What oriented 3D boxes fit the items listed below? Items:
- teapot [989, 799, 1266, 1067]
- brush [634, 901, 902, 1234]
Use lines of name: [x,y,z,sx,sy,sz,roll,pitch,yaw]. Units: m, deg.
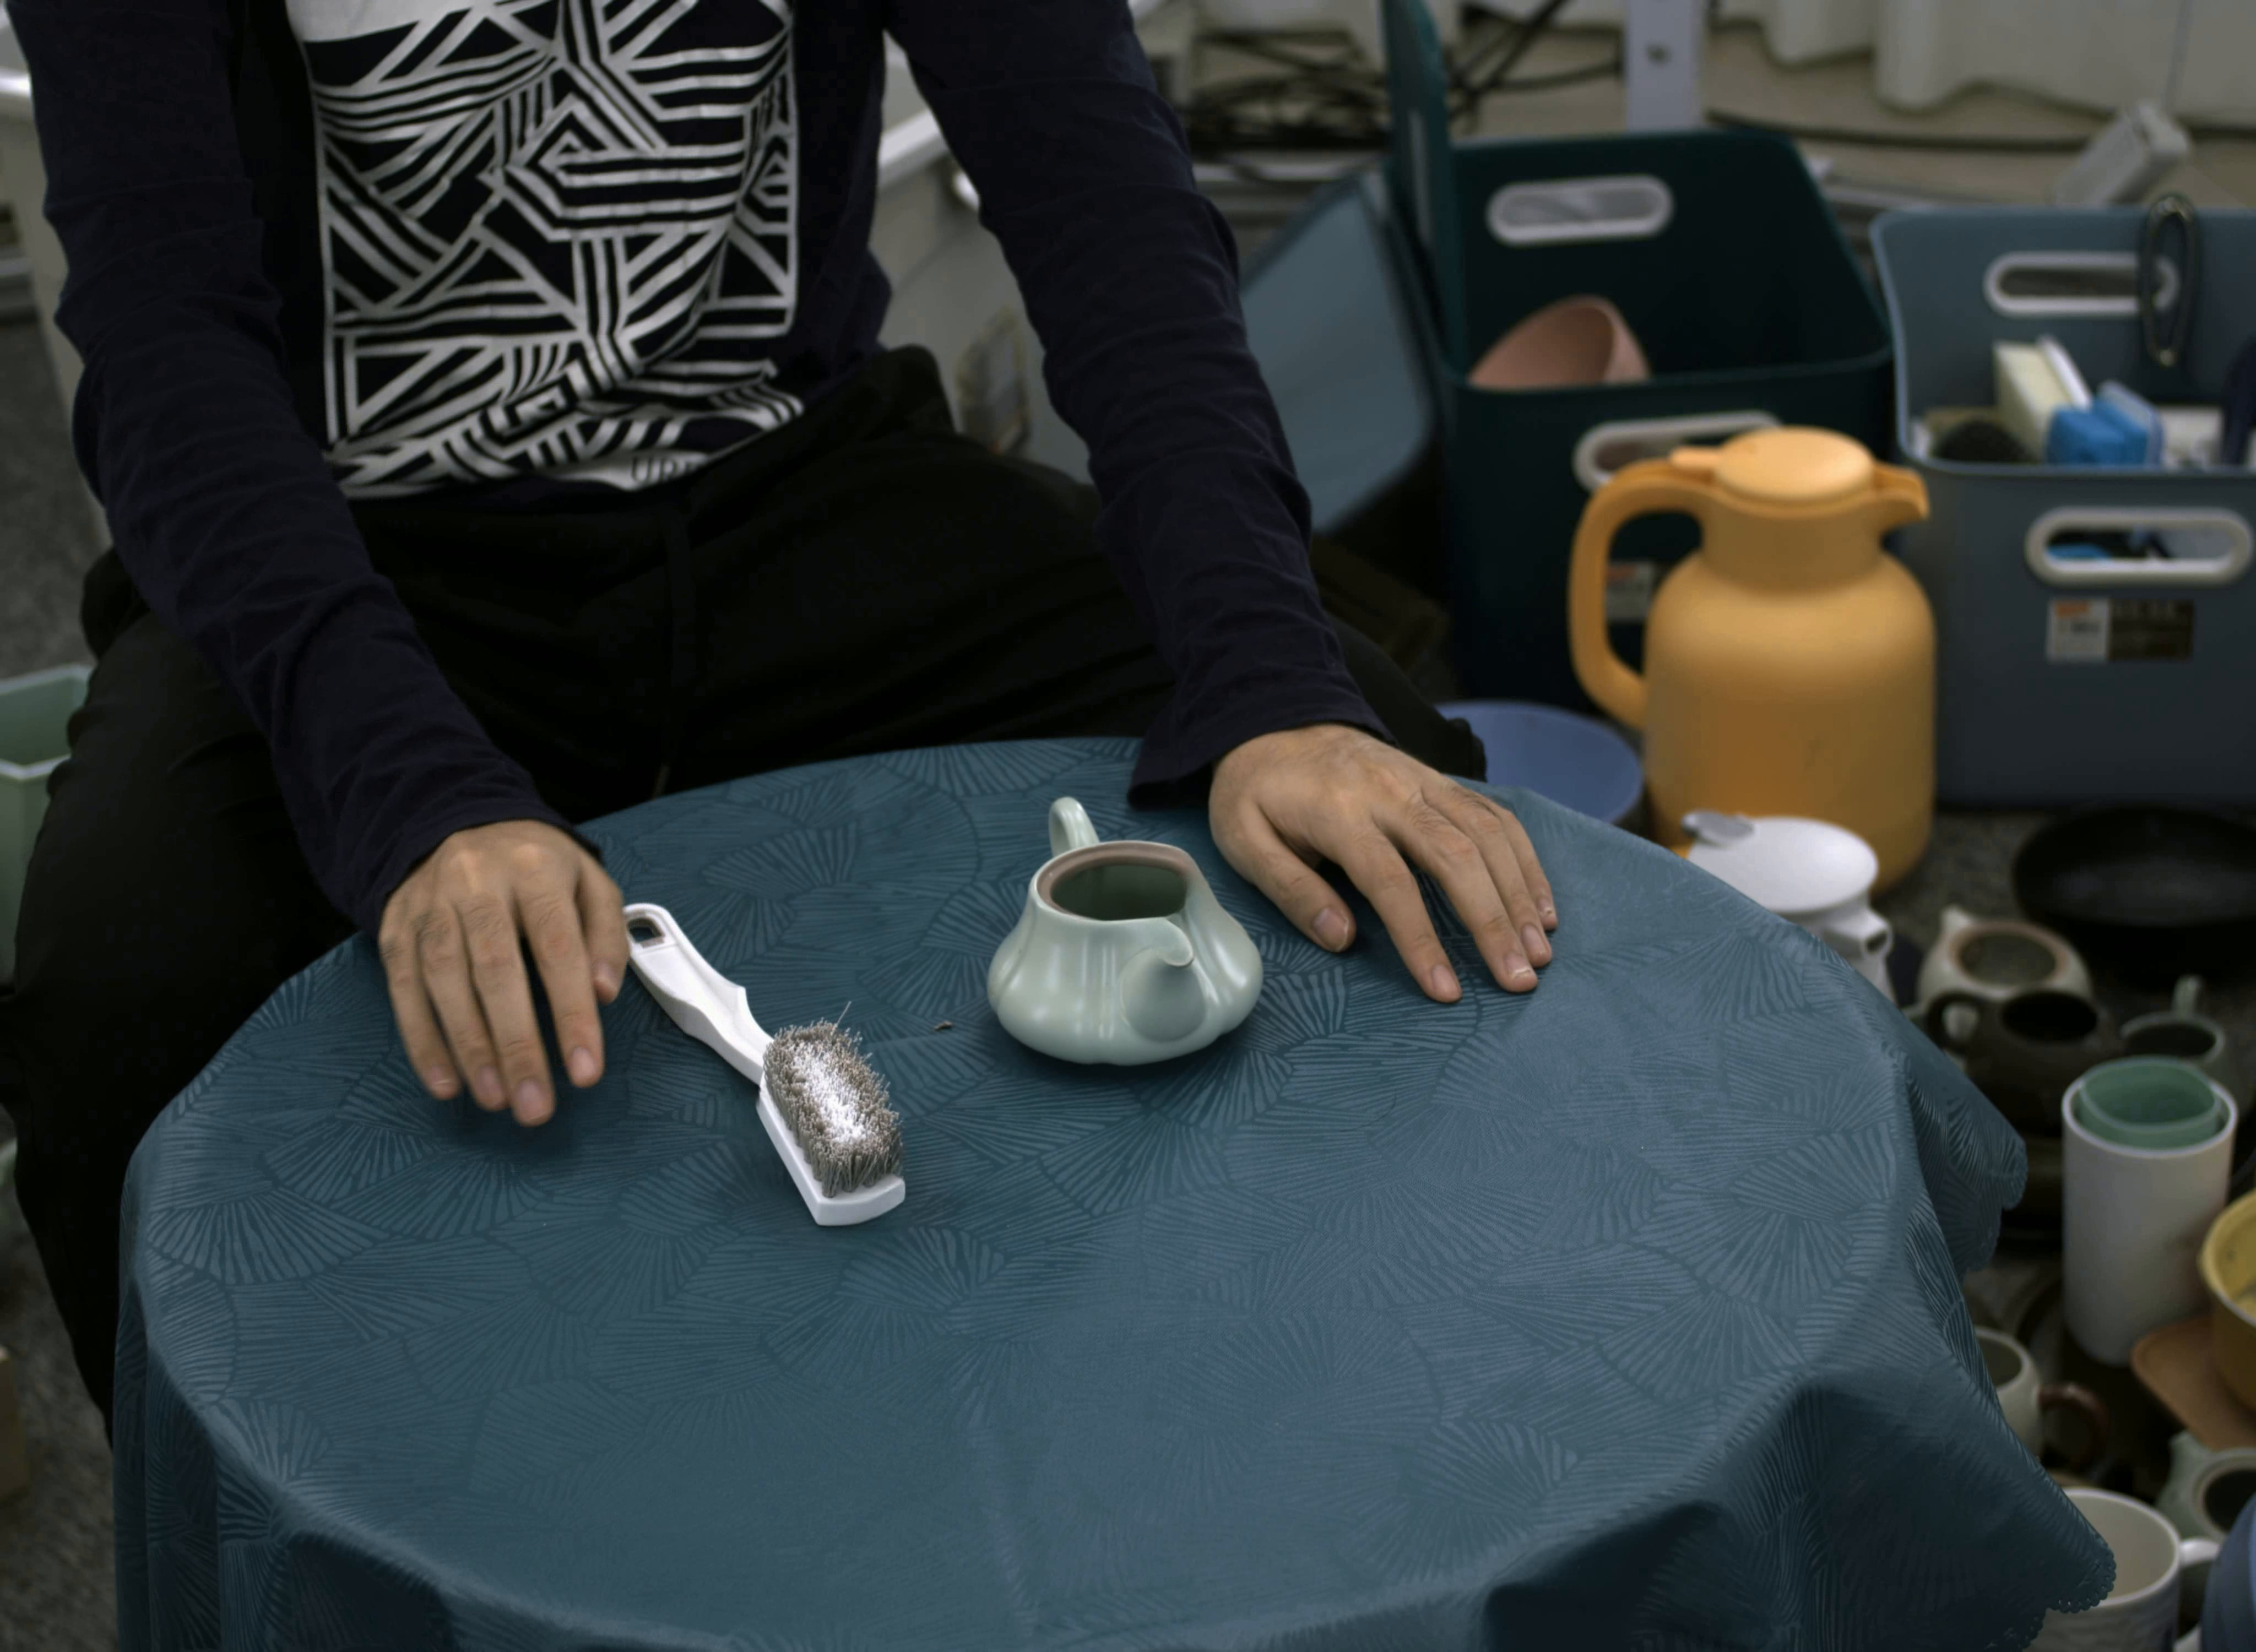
teapot: [-0.003,0.040,1.952,0.096,0.061,0.138,-15,30,-17]
brush: [-0.129,0.065,1.930,0.034,0.049,0.245,-16,30,-15]
